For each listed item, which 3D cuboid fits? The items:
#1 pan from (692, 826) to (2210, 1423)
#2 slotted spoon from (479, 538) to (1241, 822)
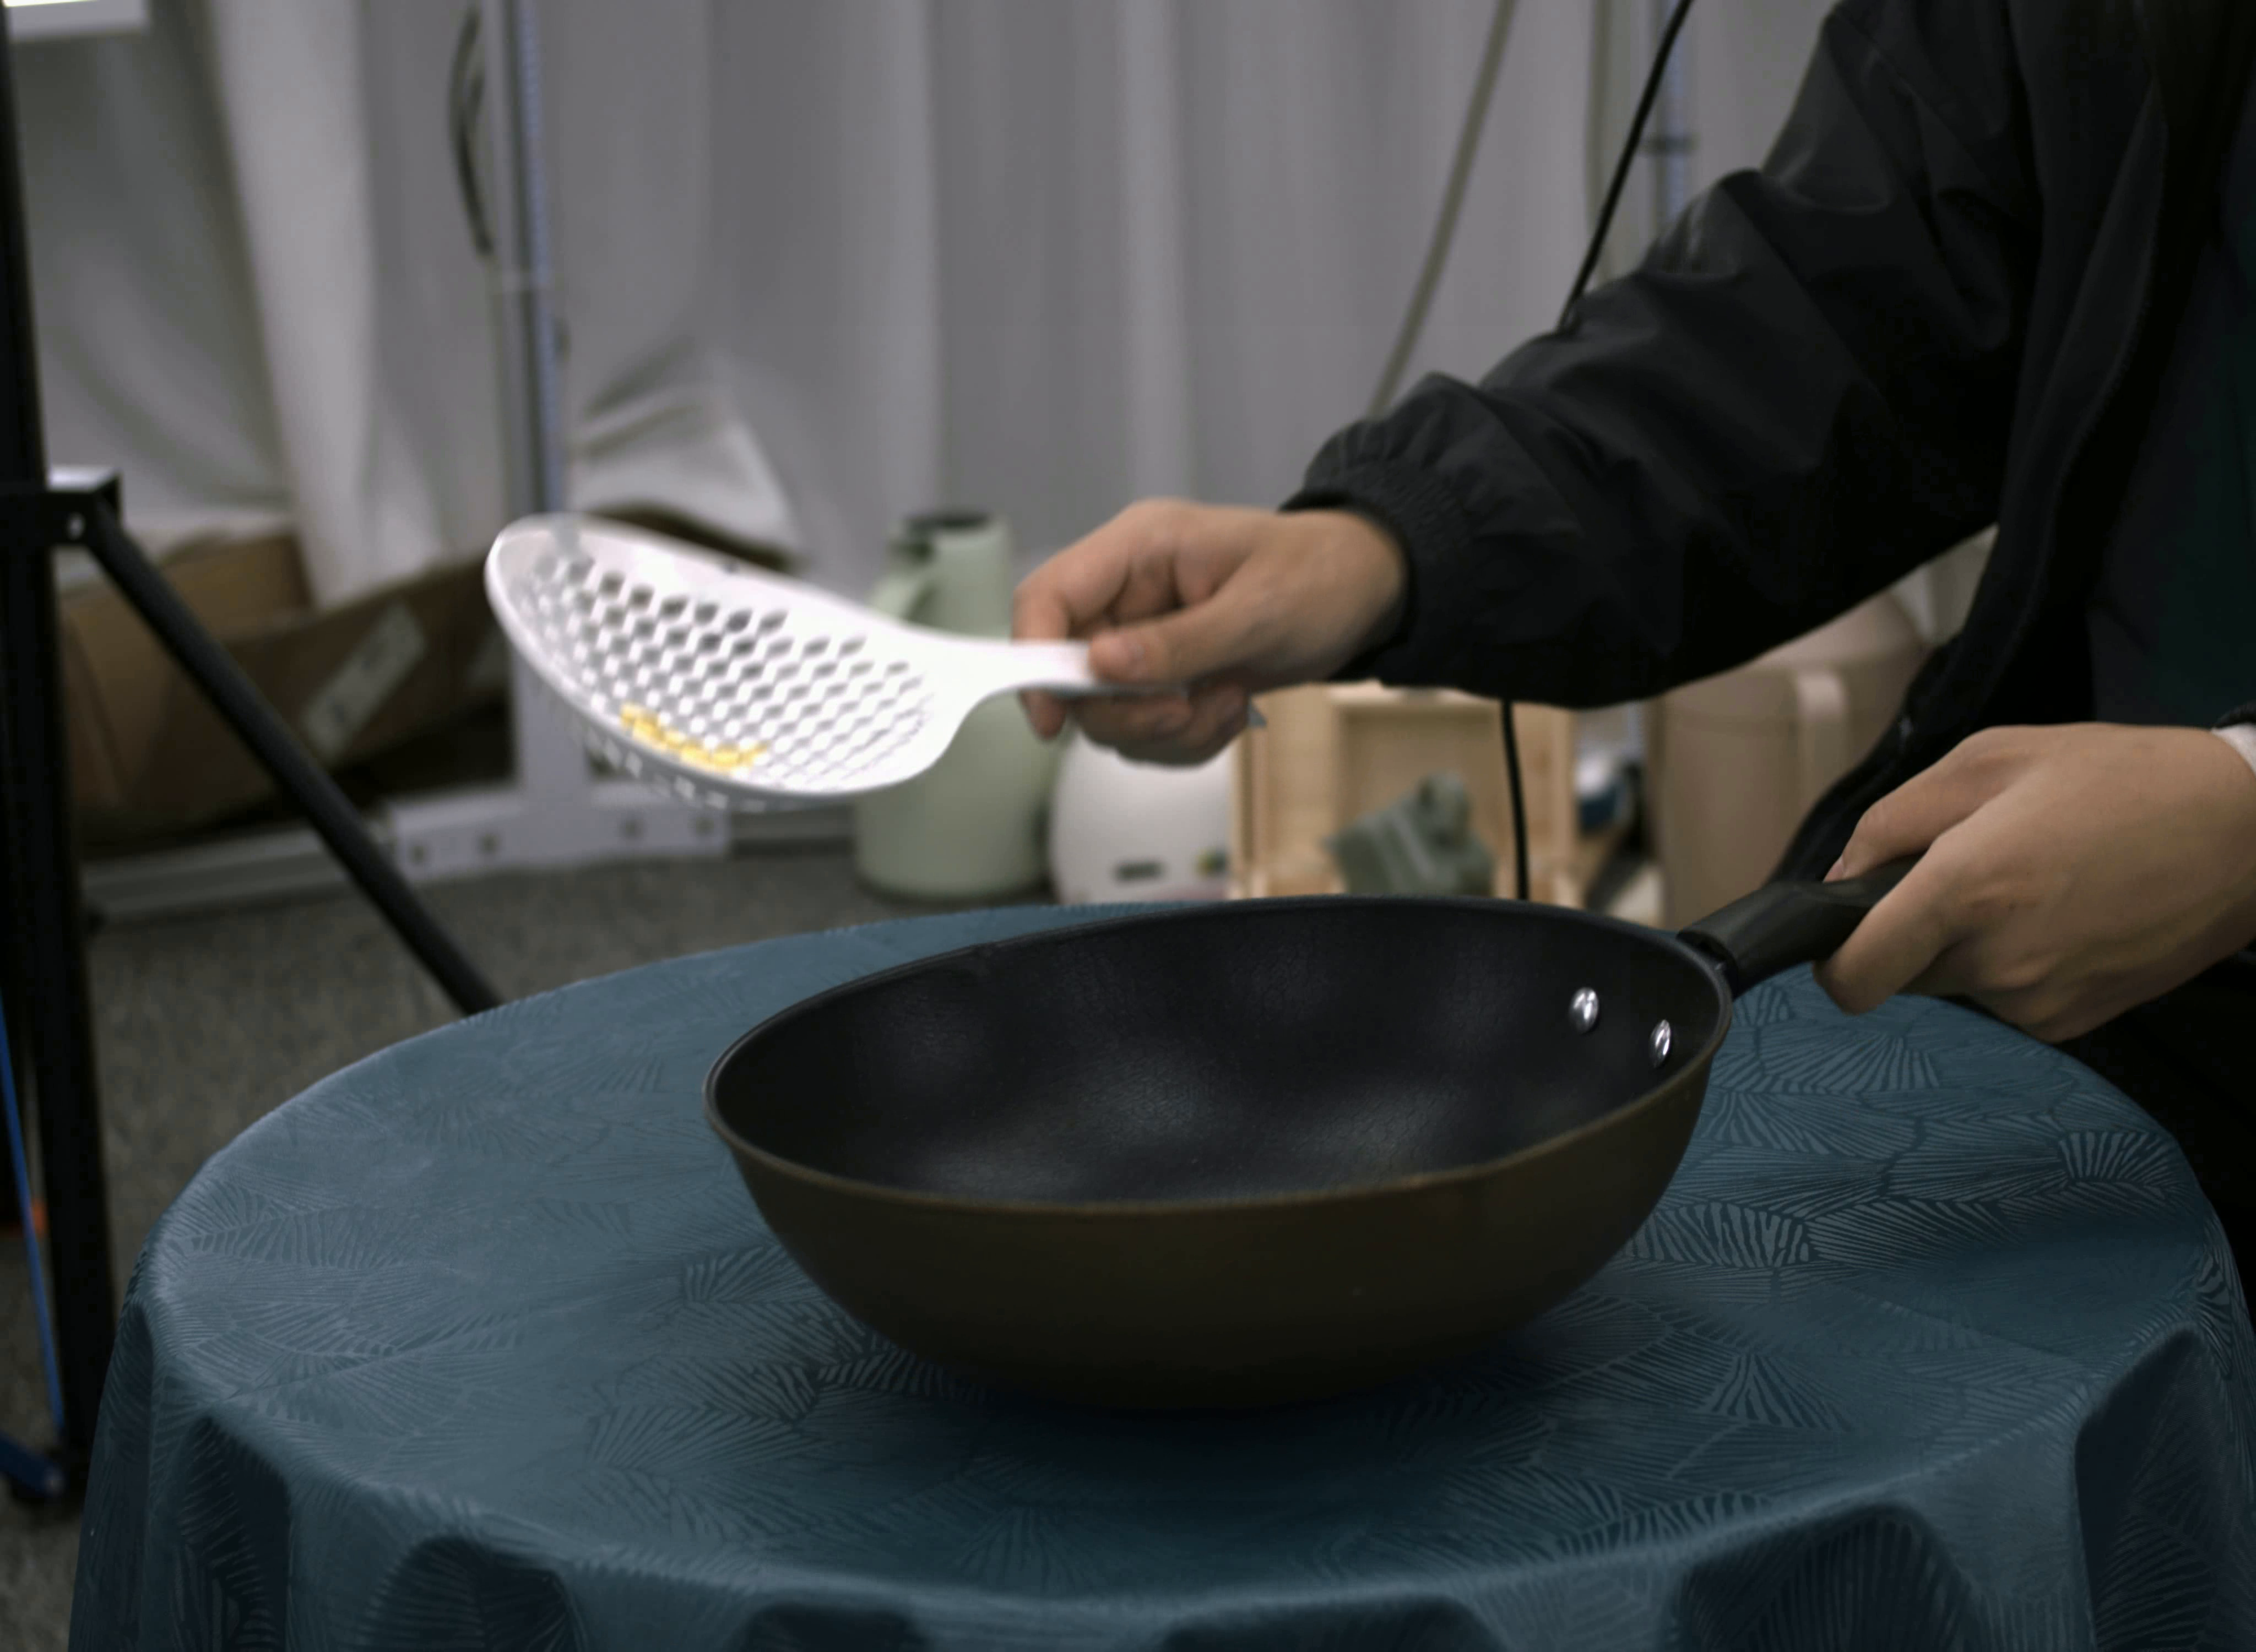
[{"bbox_3d":[0.105,0.078,1.467,0.454,0.087,0.294,-12,16,-23],"label":"pan"},{"bbox_3d":[-0.065,-0.037,1.685,0.339,0.050,0.140,-4,37,-47],"label":"slotted spoon"}]
